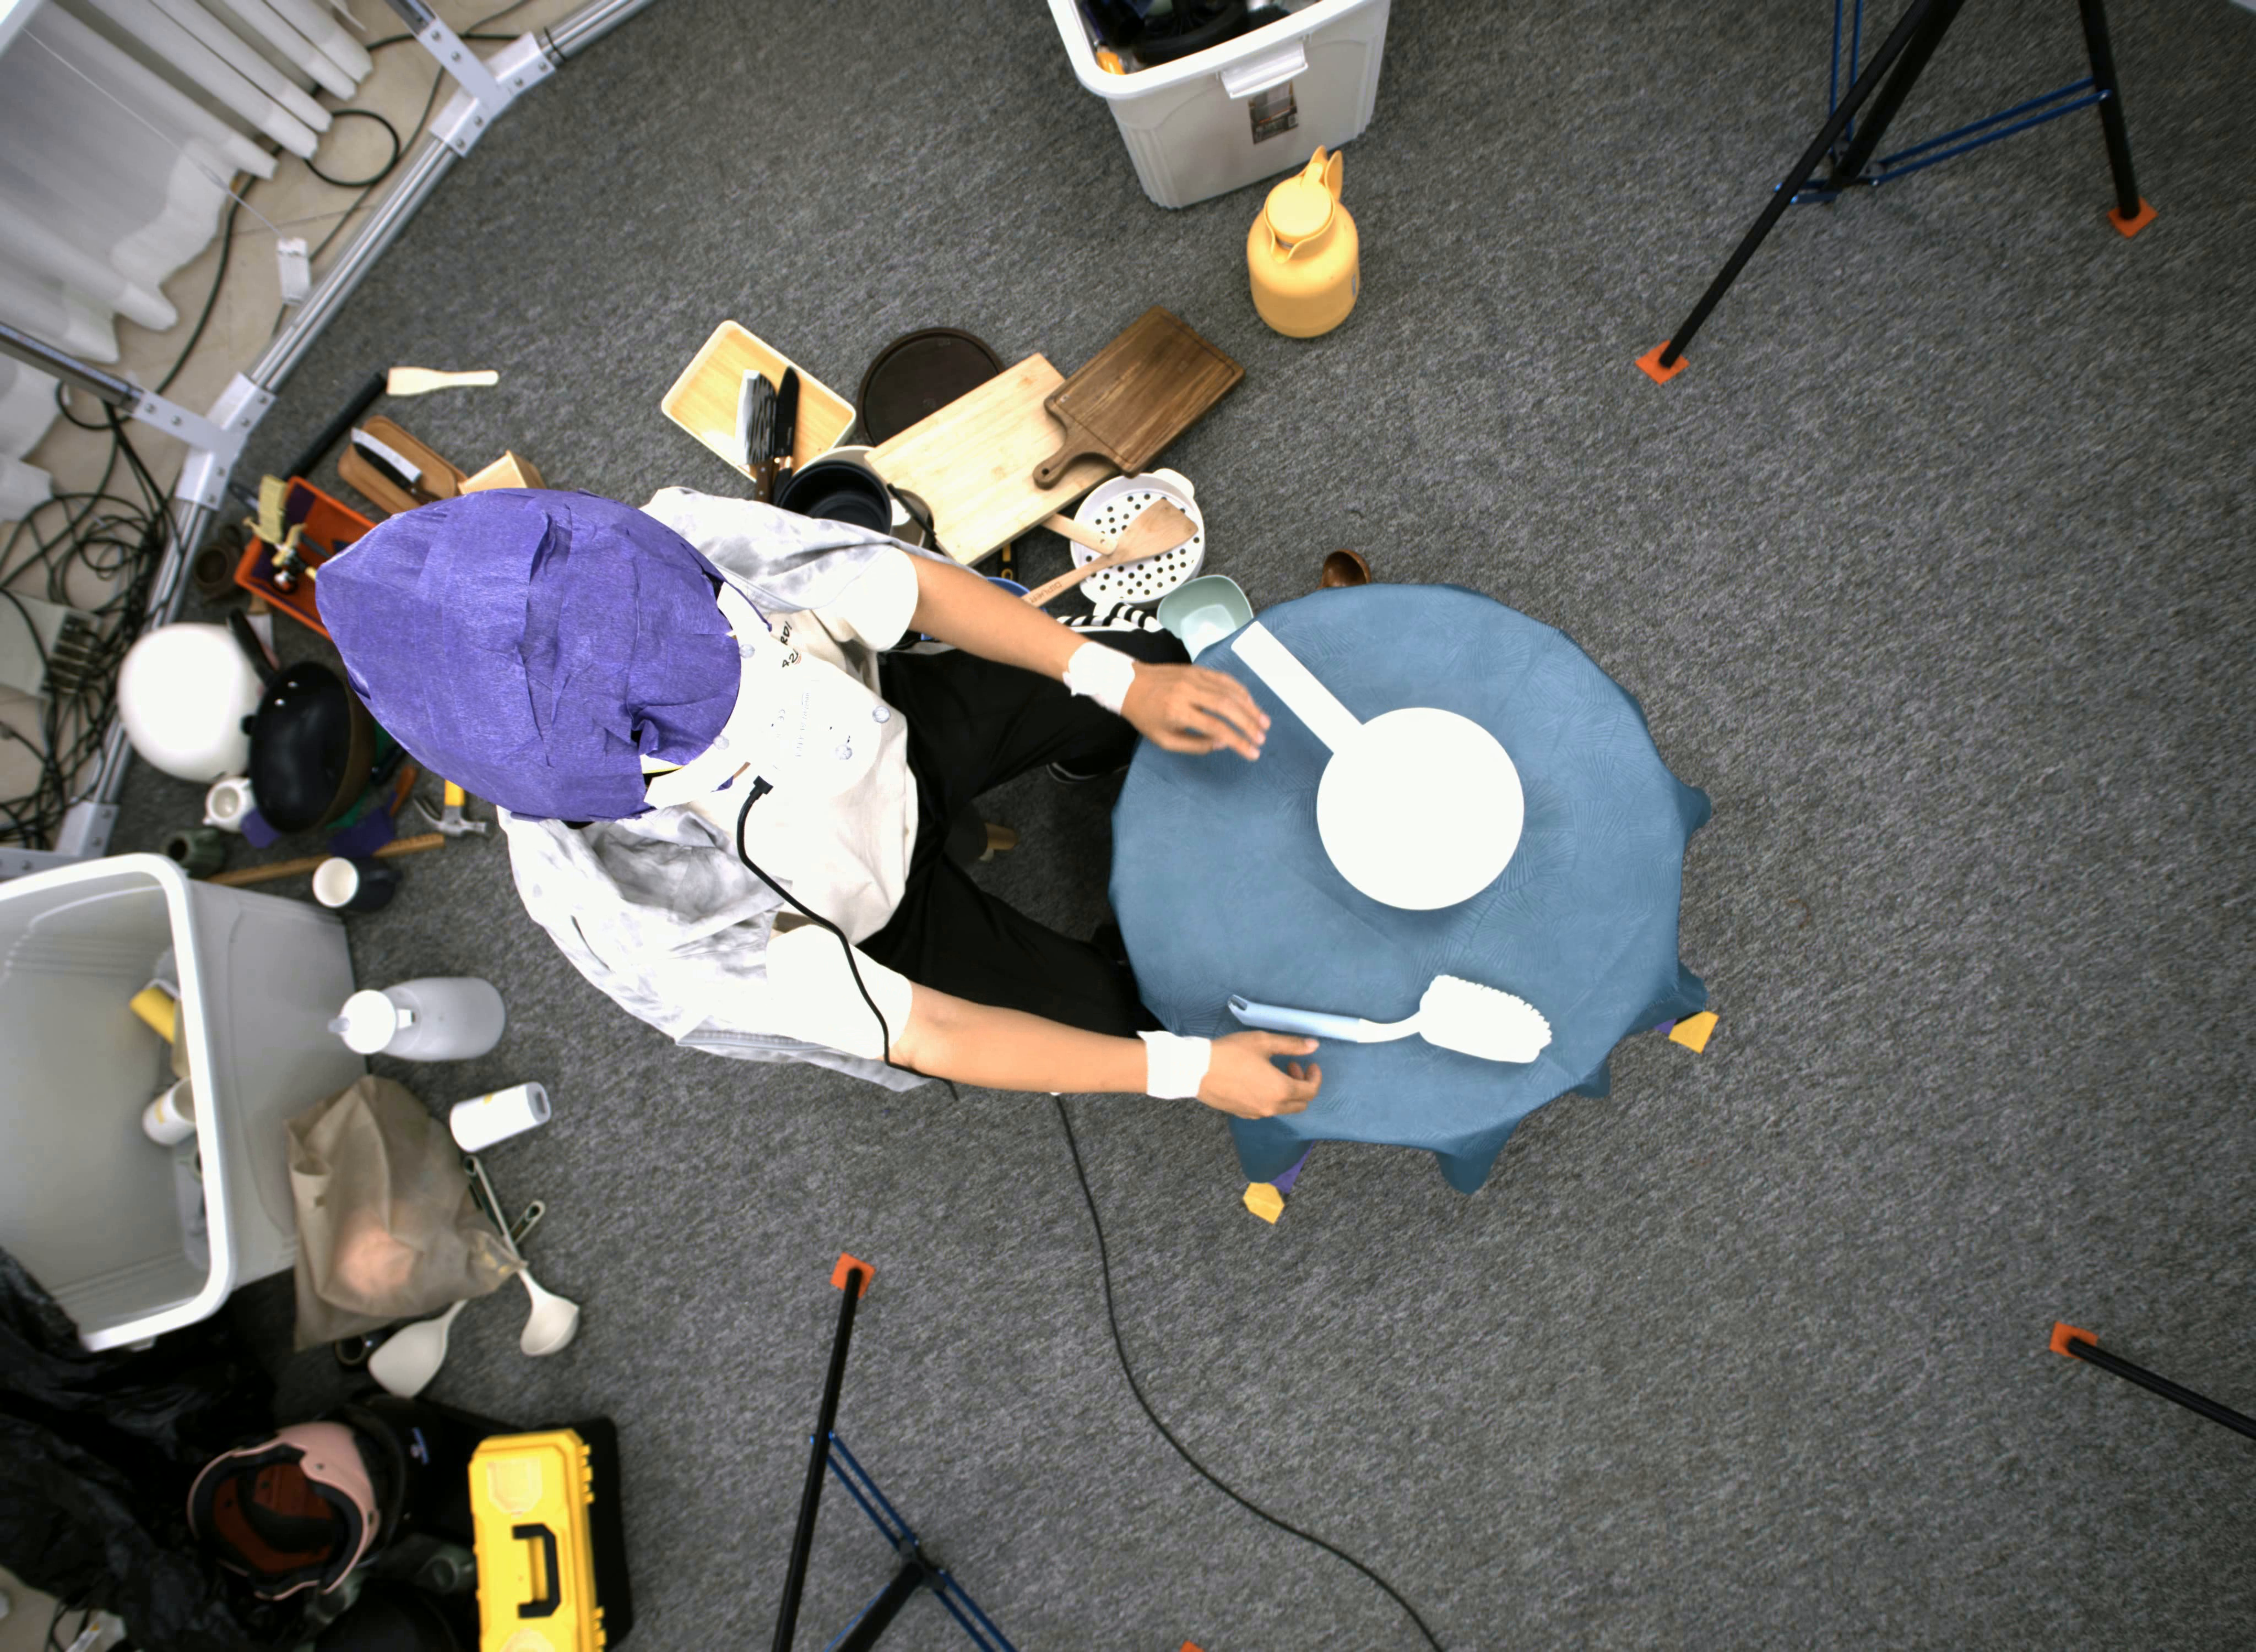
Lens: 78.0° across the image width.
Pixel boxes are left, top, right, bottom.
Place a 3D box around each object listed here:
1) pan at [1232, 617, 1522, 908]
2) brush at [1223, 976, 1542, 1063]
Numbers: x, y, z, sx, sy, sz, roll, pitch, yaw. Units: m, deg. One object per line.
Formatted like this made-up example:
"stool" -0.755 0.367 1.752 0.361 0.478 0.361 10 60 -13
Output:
"pan" 0.243 -0.071 1.419 0.202 0.102 0.353 -44 80 5
"brush" 0.258 0.186 1.412 0.326 0.082 0.085 7 94 10
